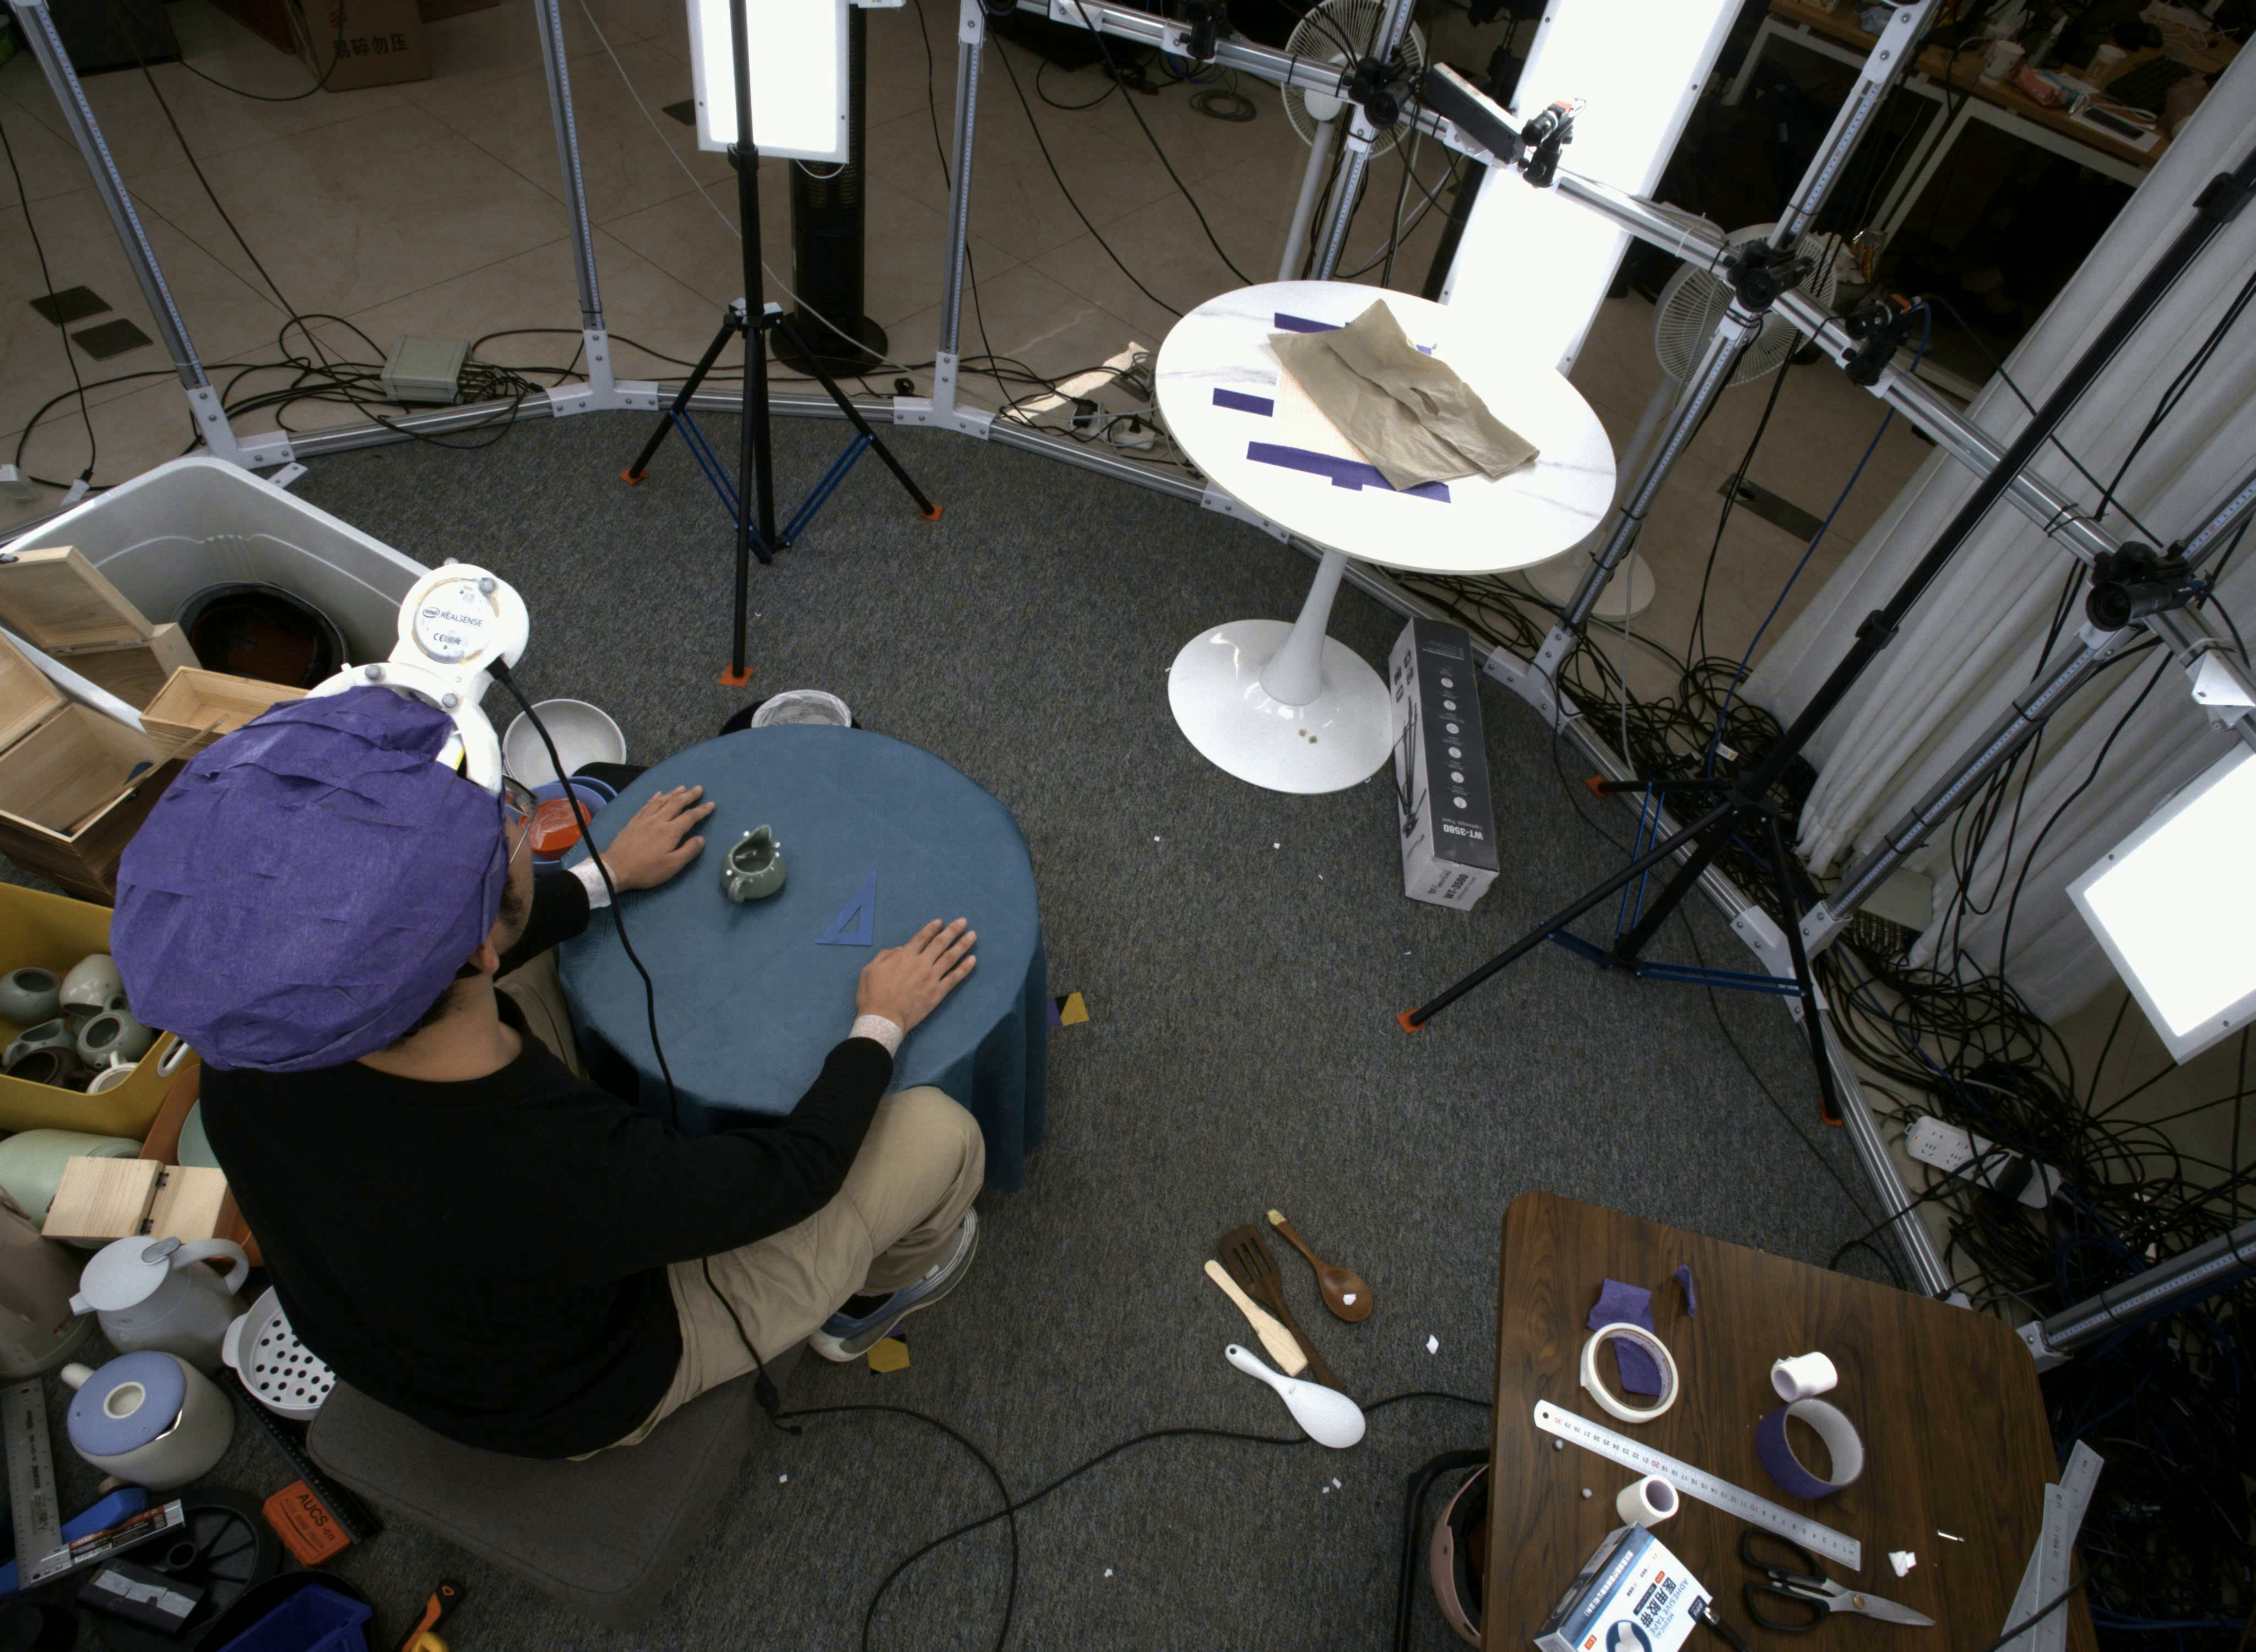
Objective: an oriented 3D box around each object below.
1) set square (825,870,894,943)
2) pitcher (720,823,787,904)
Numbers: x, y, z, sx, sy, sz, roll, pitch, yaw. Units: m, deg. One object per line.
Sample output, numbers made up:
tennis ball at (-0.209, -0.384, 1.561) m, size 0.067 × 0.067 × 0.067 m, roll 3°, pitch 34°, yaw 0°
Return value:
set square at (-0.325, 0.108, 1.662) m, size 0.060 × 0.007 × 0.131 m, roll 30°, pitch 52°, yaw 10°
pitcher at (-0.476, 0.054, 1.629) m, size 0.083 × 0.057 × 0.111 m, roll 14°, pitch 51°, yaw 0°
